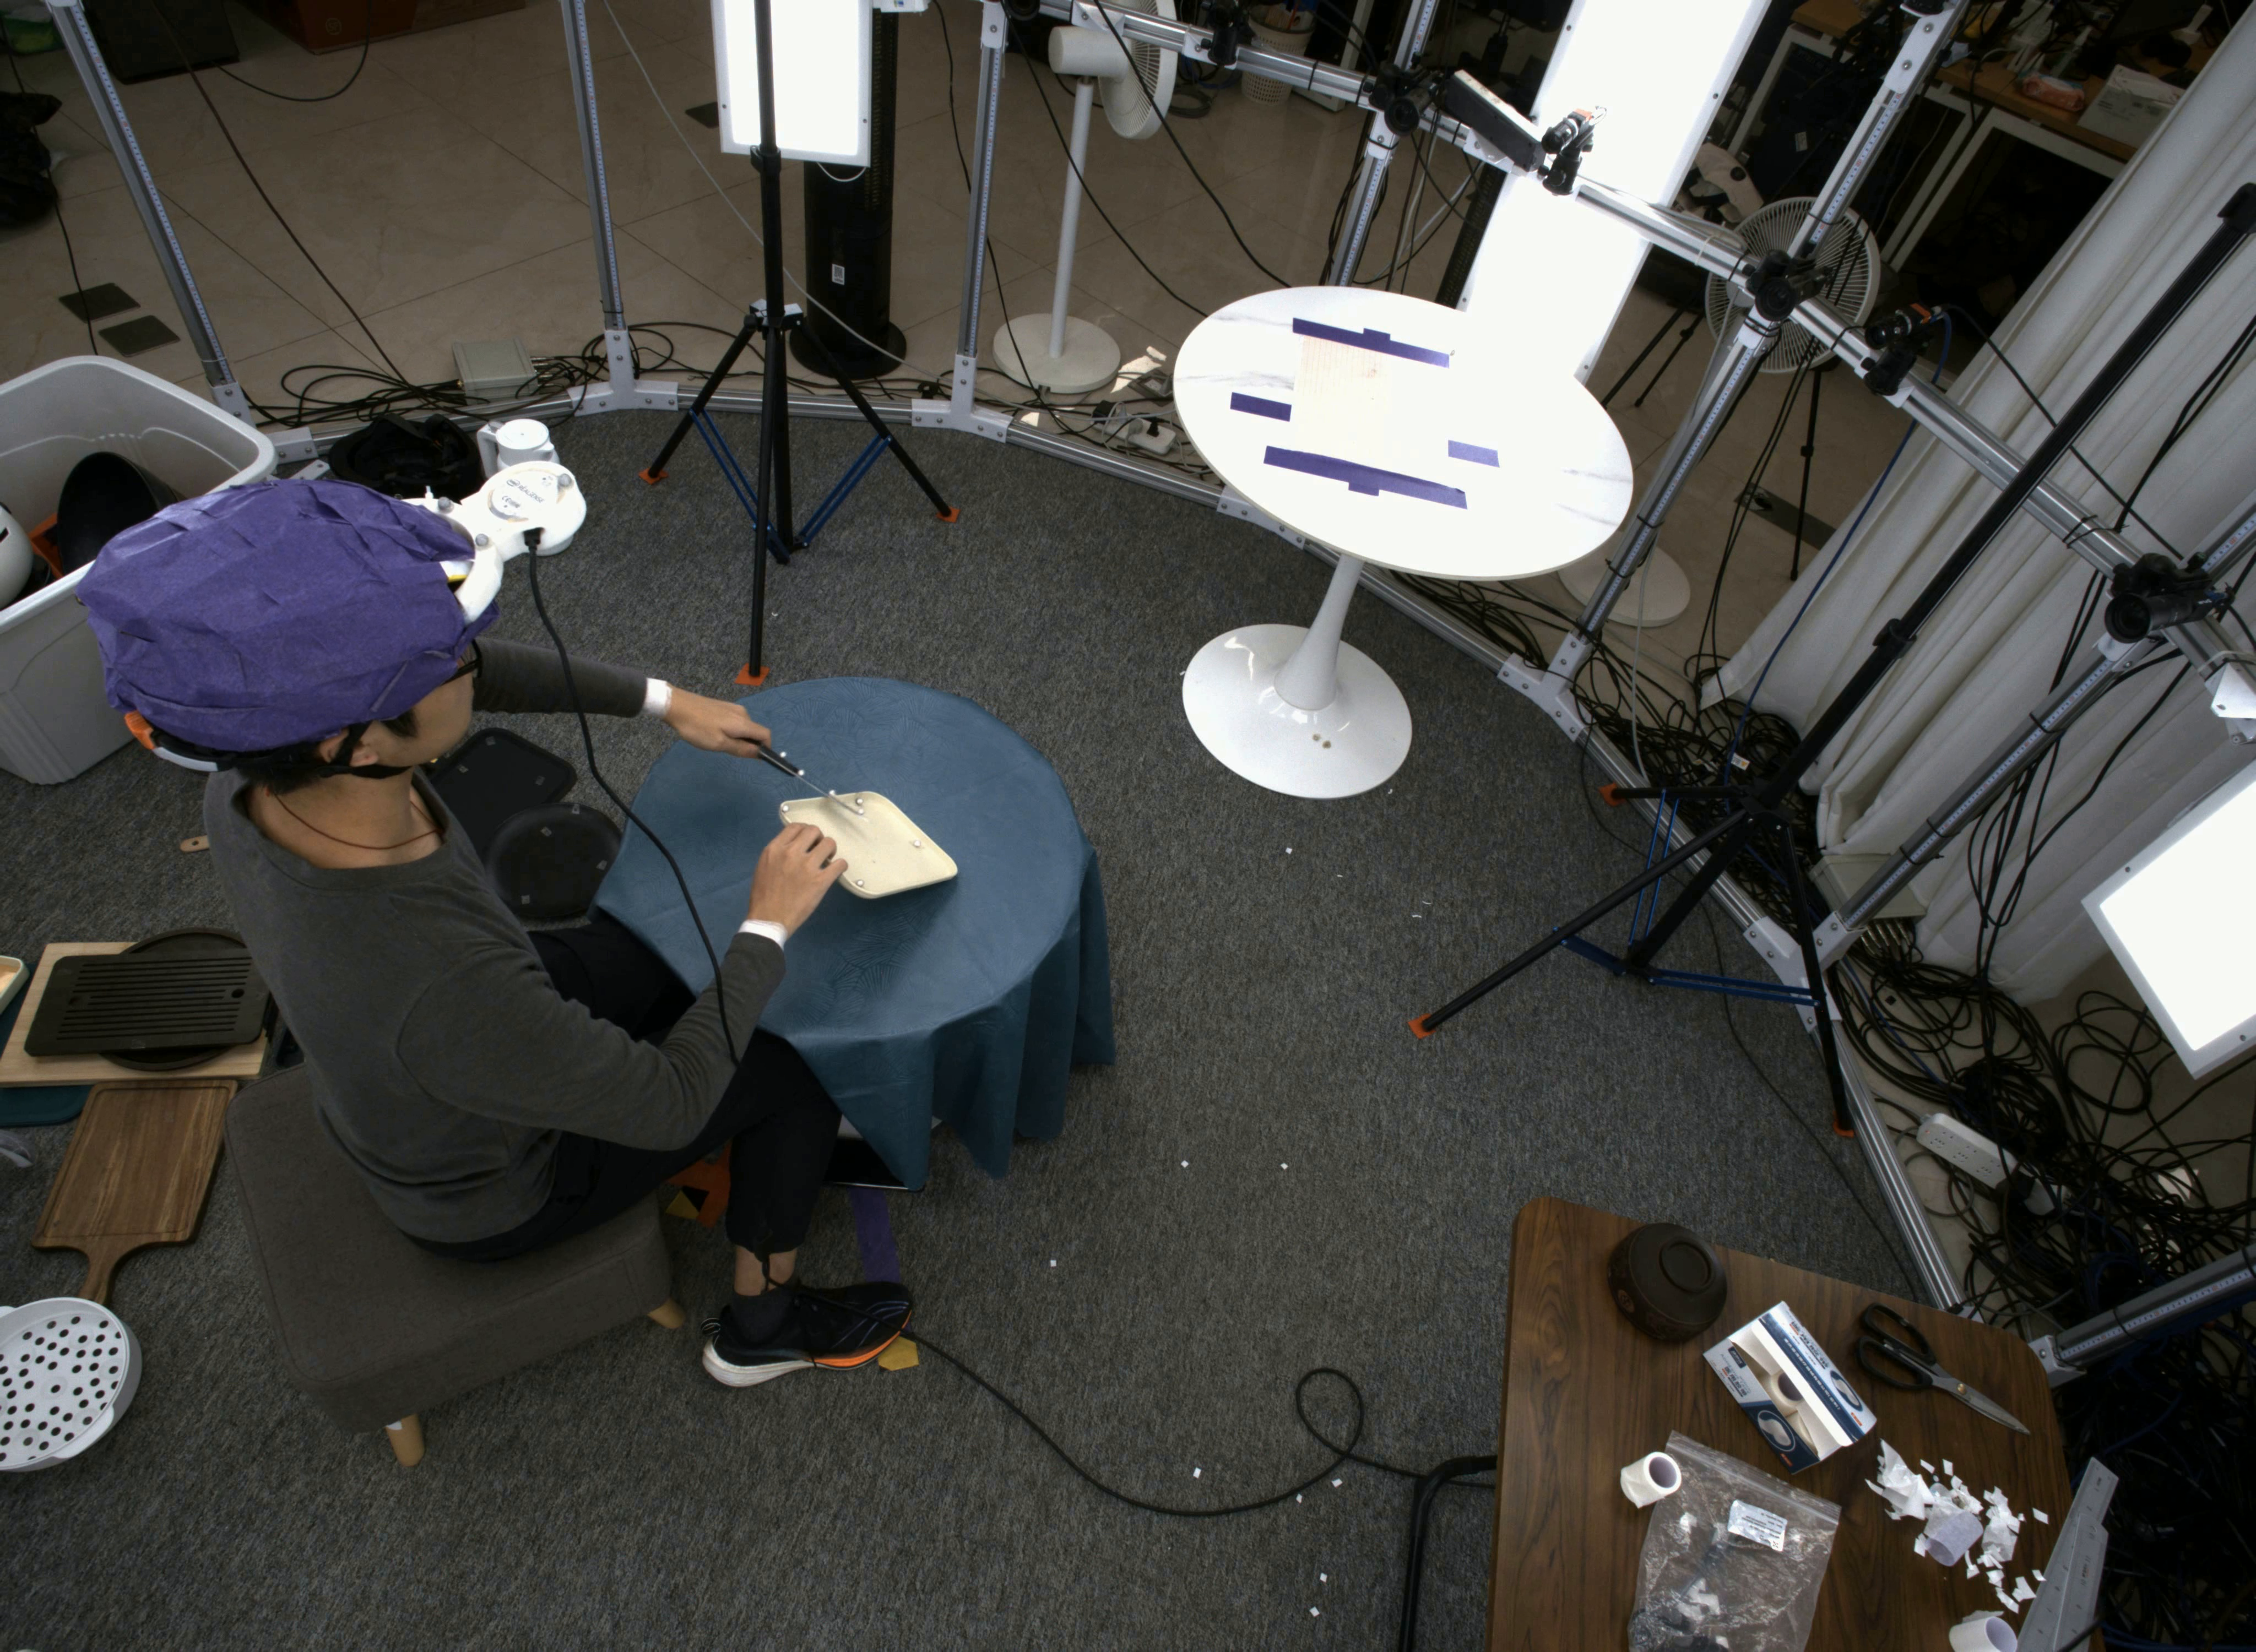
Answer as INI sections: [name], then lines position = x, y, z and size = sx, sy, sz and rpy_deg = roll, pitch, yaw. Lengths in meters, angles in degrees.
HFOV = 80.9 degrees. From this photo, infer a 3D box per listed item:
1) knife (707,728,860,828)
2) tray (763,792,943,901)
[knife]
position = -0.439, -0.061, 1.642
size = 0.236, 0.024, 0.016
rpy_deg = 31, 95, 4
[tray]
position = -0.344, 0.023, 1.638
size = 0.169, 0.017, 0.242
rpy_deg = 43, 18, 11
